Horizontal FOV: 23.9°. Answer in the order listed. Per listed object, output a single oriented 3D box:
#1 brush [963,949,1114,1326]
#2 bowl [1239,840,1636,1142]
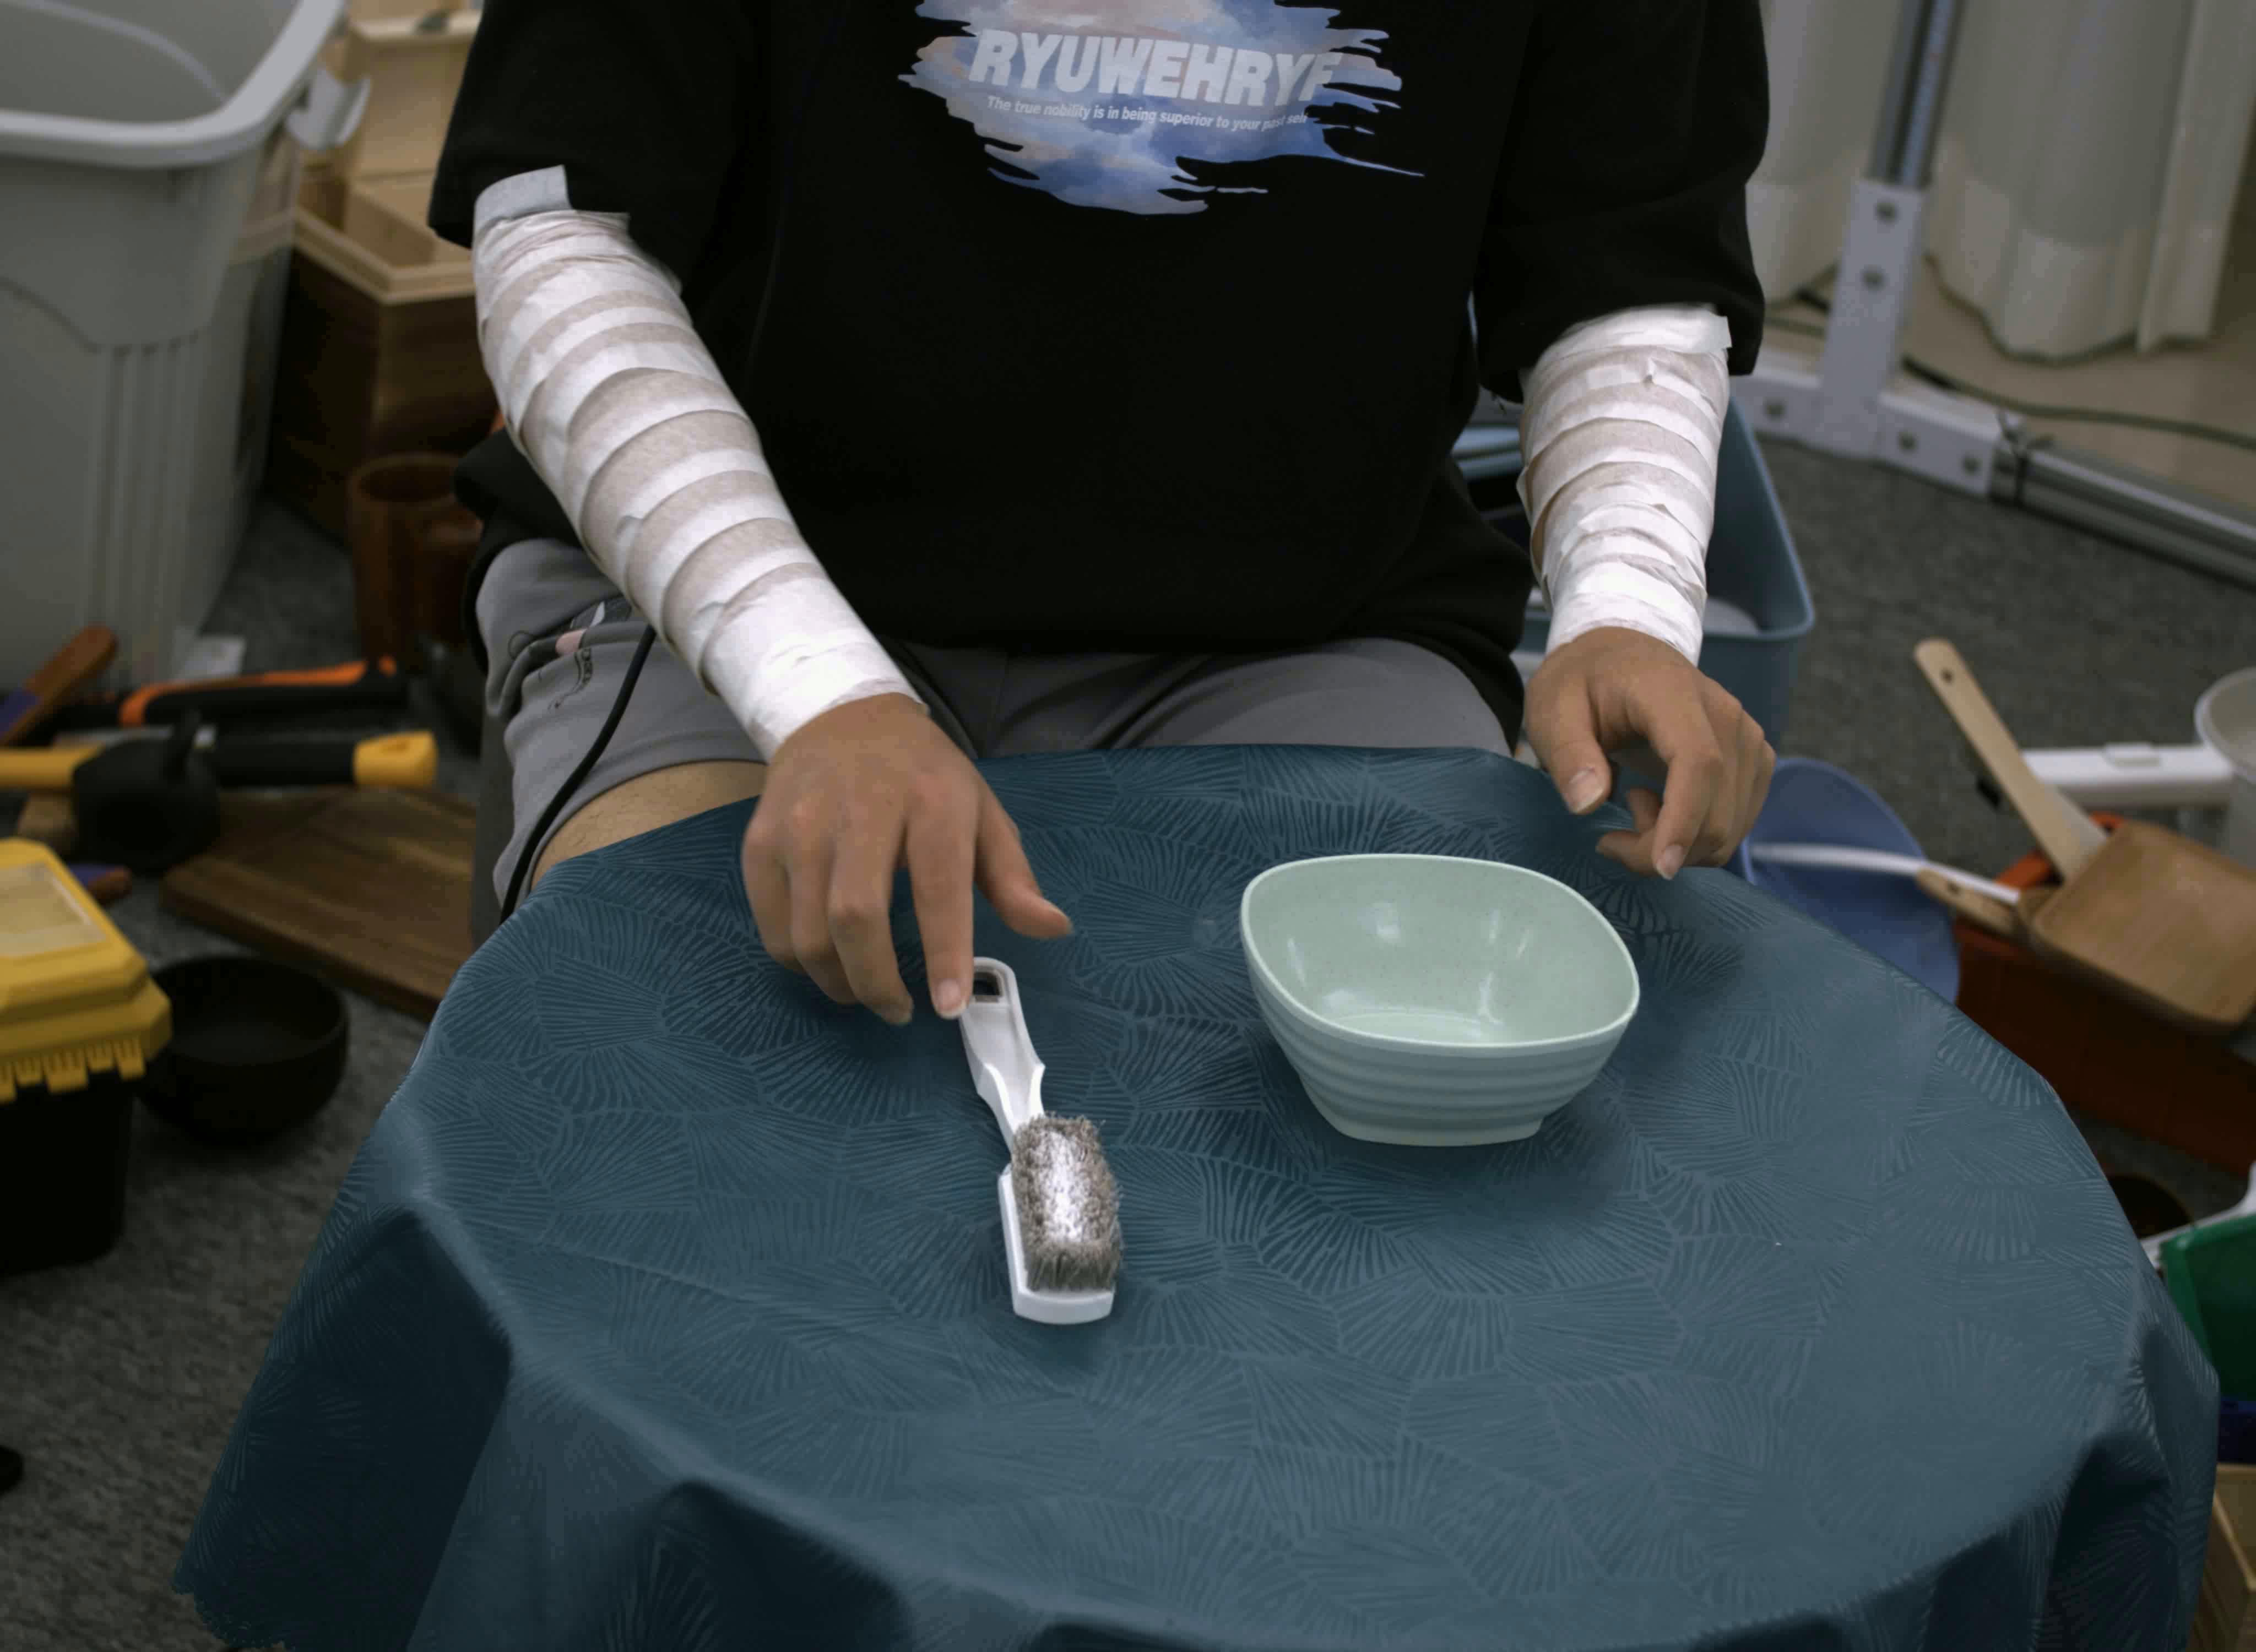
[{"bbox_3d":[-0.033,0.088,1.810,0.034,0.050,0.245,3,28,-9],"label":"brush"},{"bbox_3d":[0.104,0.065,1.876,0.151,0.058,0.152,8,28,-5],"label":"bowl"}]
